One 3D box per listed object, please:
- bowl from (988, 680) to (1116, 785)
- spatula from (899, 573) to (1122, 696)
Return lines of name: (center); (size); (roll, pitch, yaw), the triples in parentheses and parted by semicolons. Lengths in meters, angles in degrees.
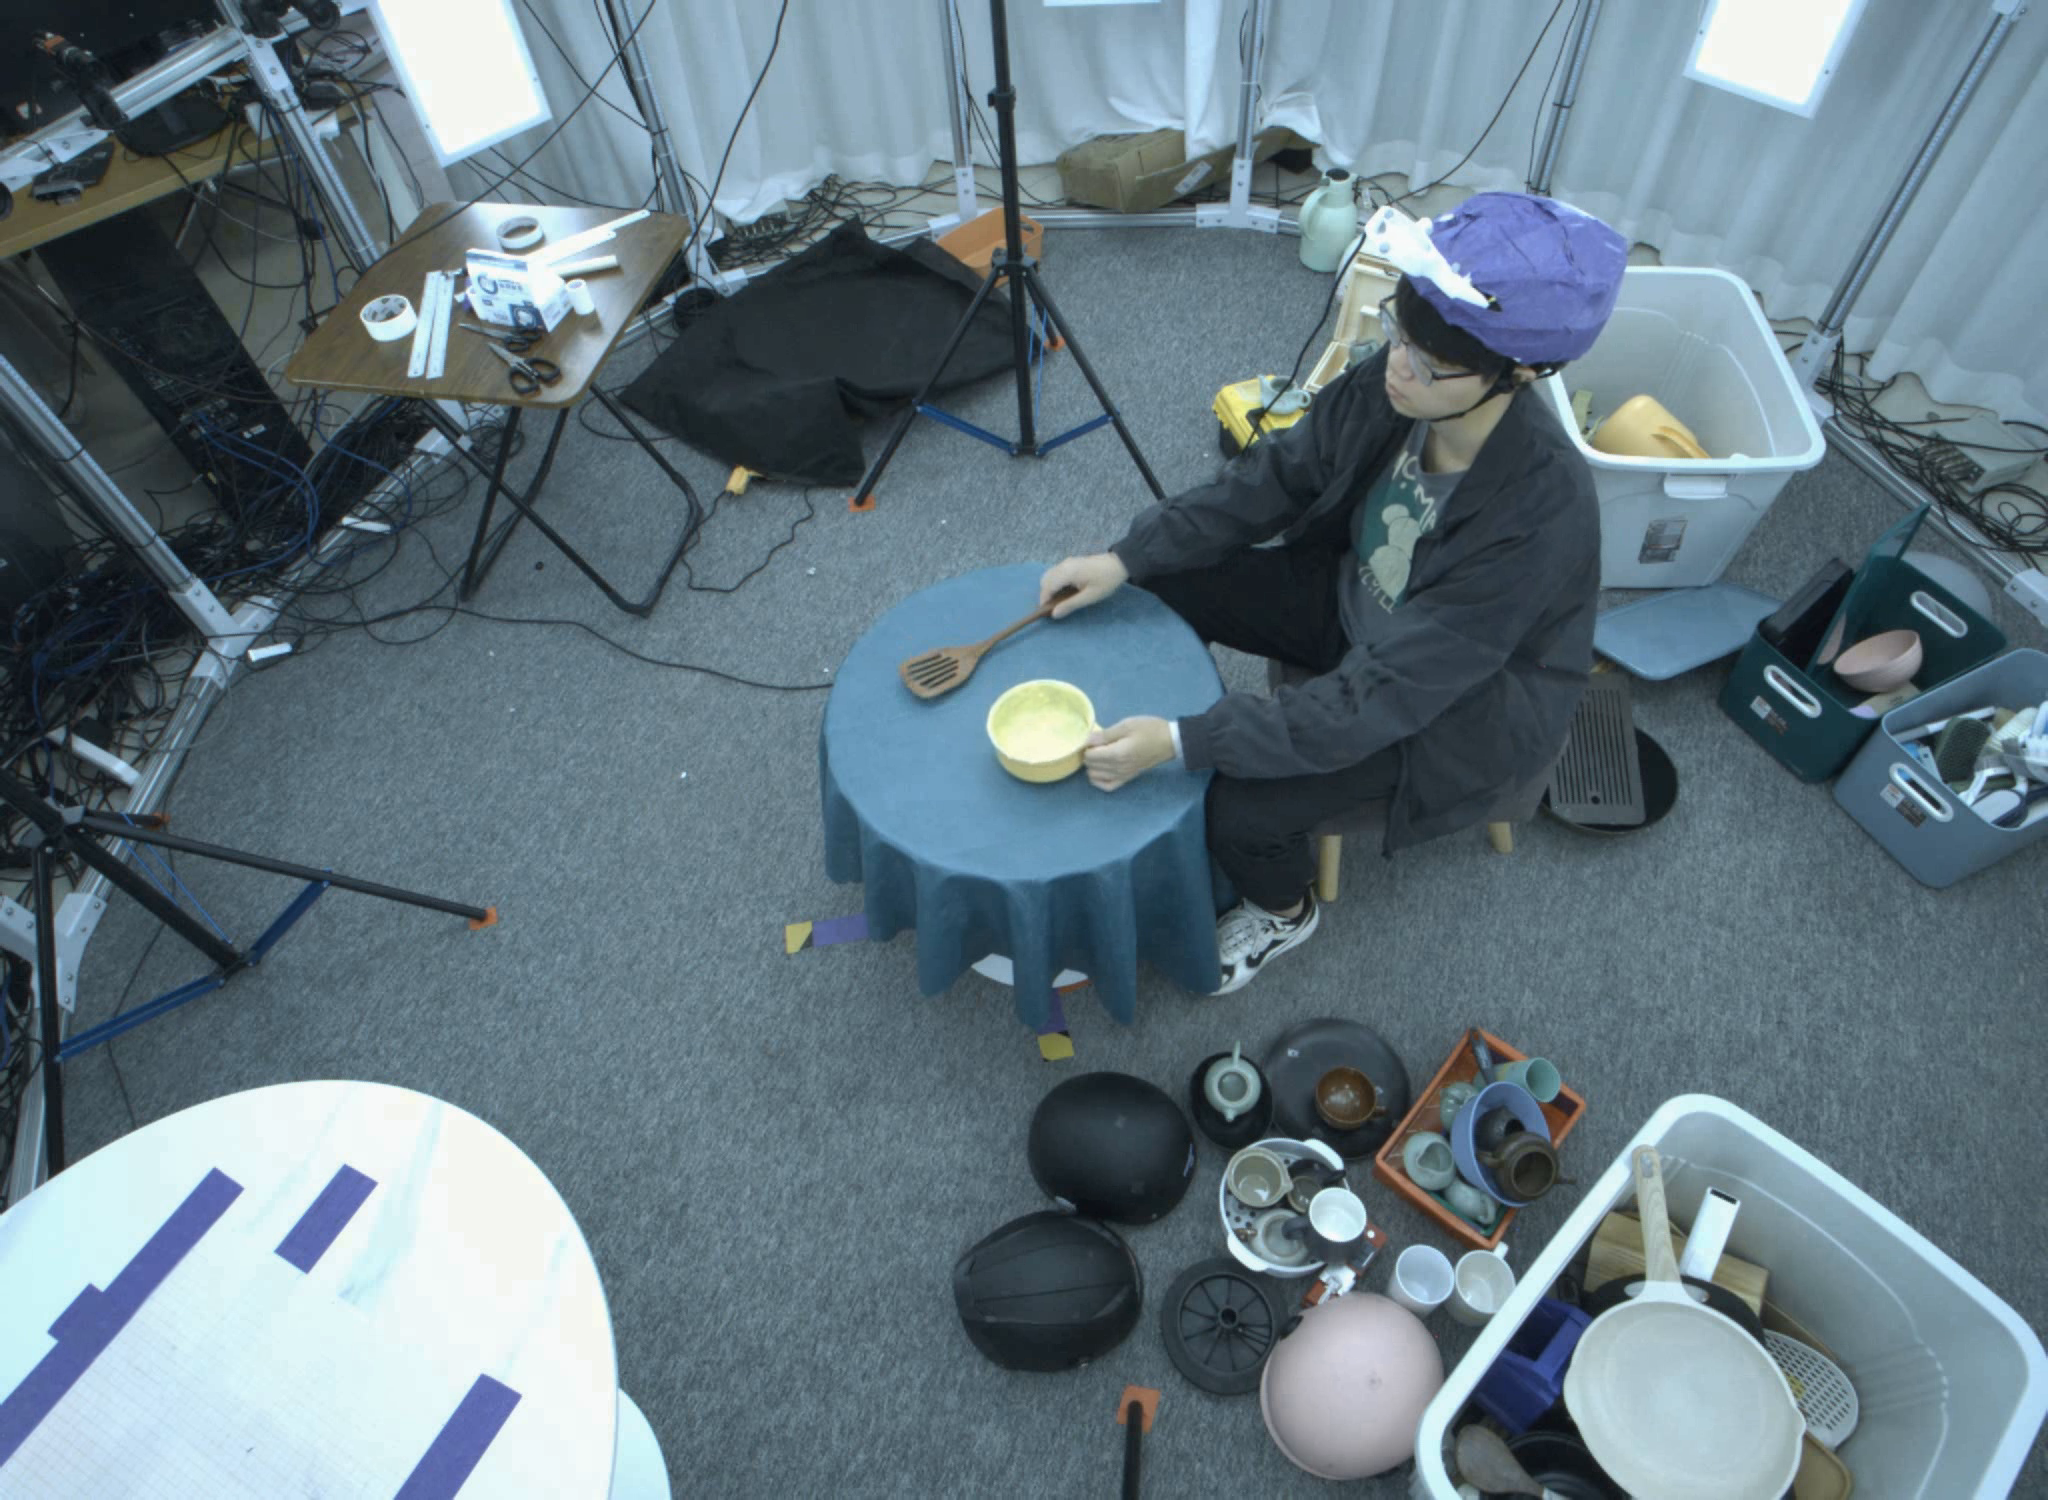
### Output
bowl: (0.041, -0.016, 1.744); (0.177, 0.075, 0.152); (11, 54, 16)
spatula: (-0.013, -0.187, 1.890); (0.389, 0.024, 0.084); (-28, 62, -16)
